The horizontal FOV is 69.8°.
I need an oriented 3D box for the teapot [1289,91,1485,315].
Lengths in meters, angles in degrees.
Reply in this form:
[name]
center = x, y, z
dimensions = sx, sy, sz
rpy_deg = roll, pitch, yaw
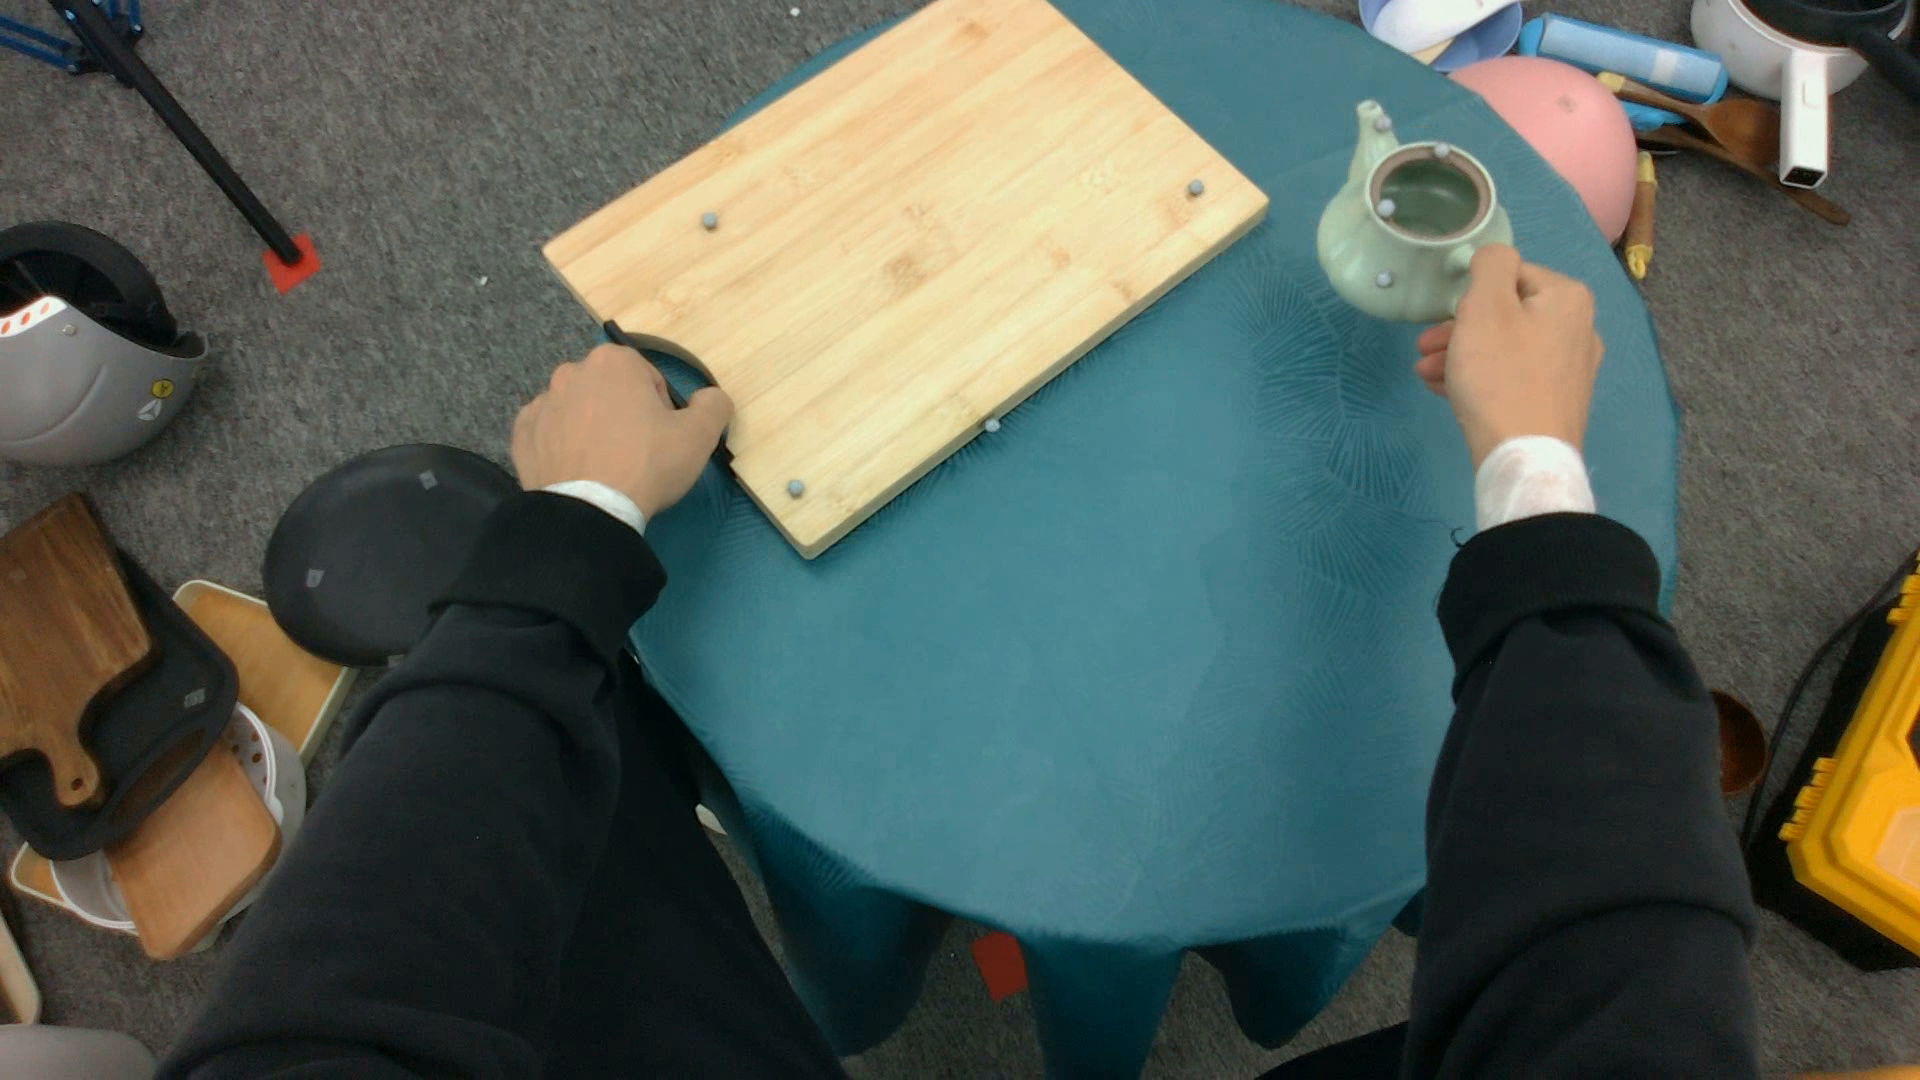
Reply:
[teapot]
center = 0.222, -0.164, 0.704
dimensions = 0.096, 0.061, 0.137
rpy_deg = -23, 64, -8

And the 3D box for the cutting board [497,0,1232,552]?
[cutting board]
center = -0.048, -0.182, 0.787
dimensions = 0.349, 0.023, 0.251
rpy_deg = -40, 73, -17
